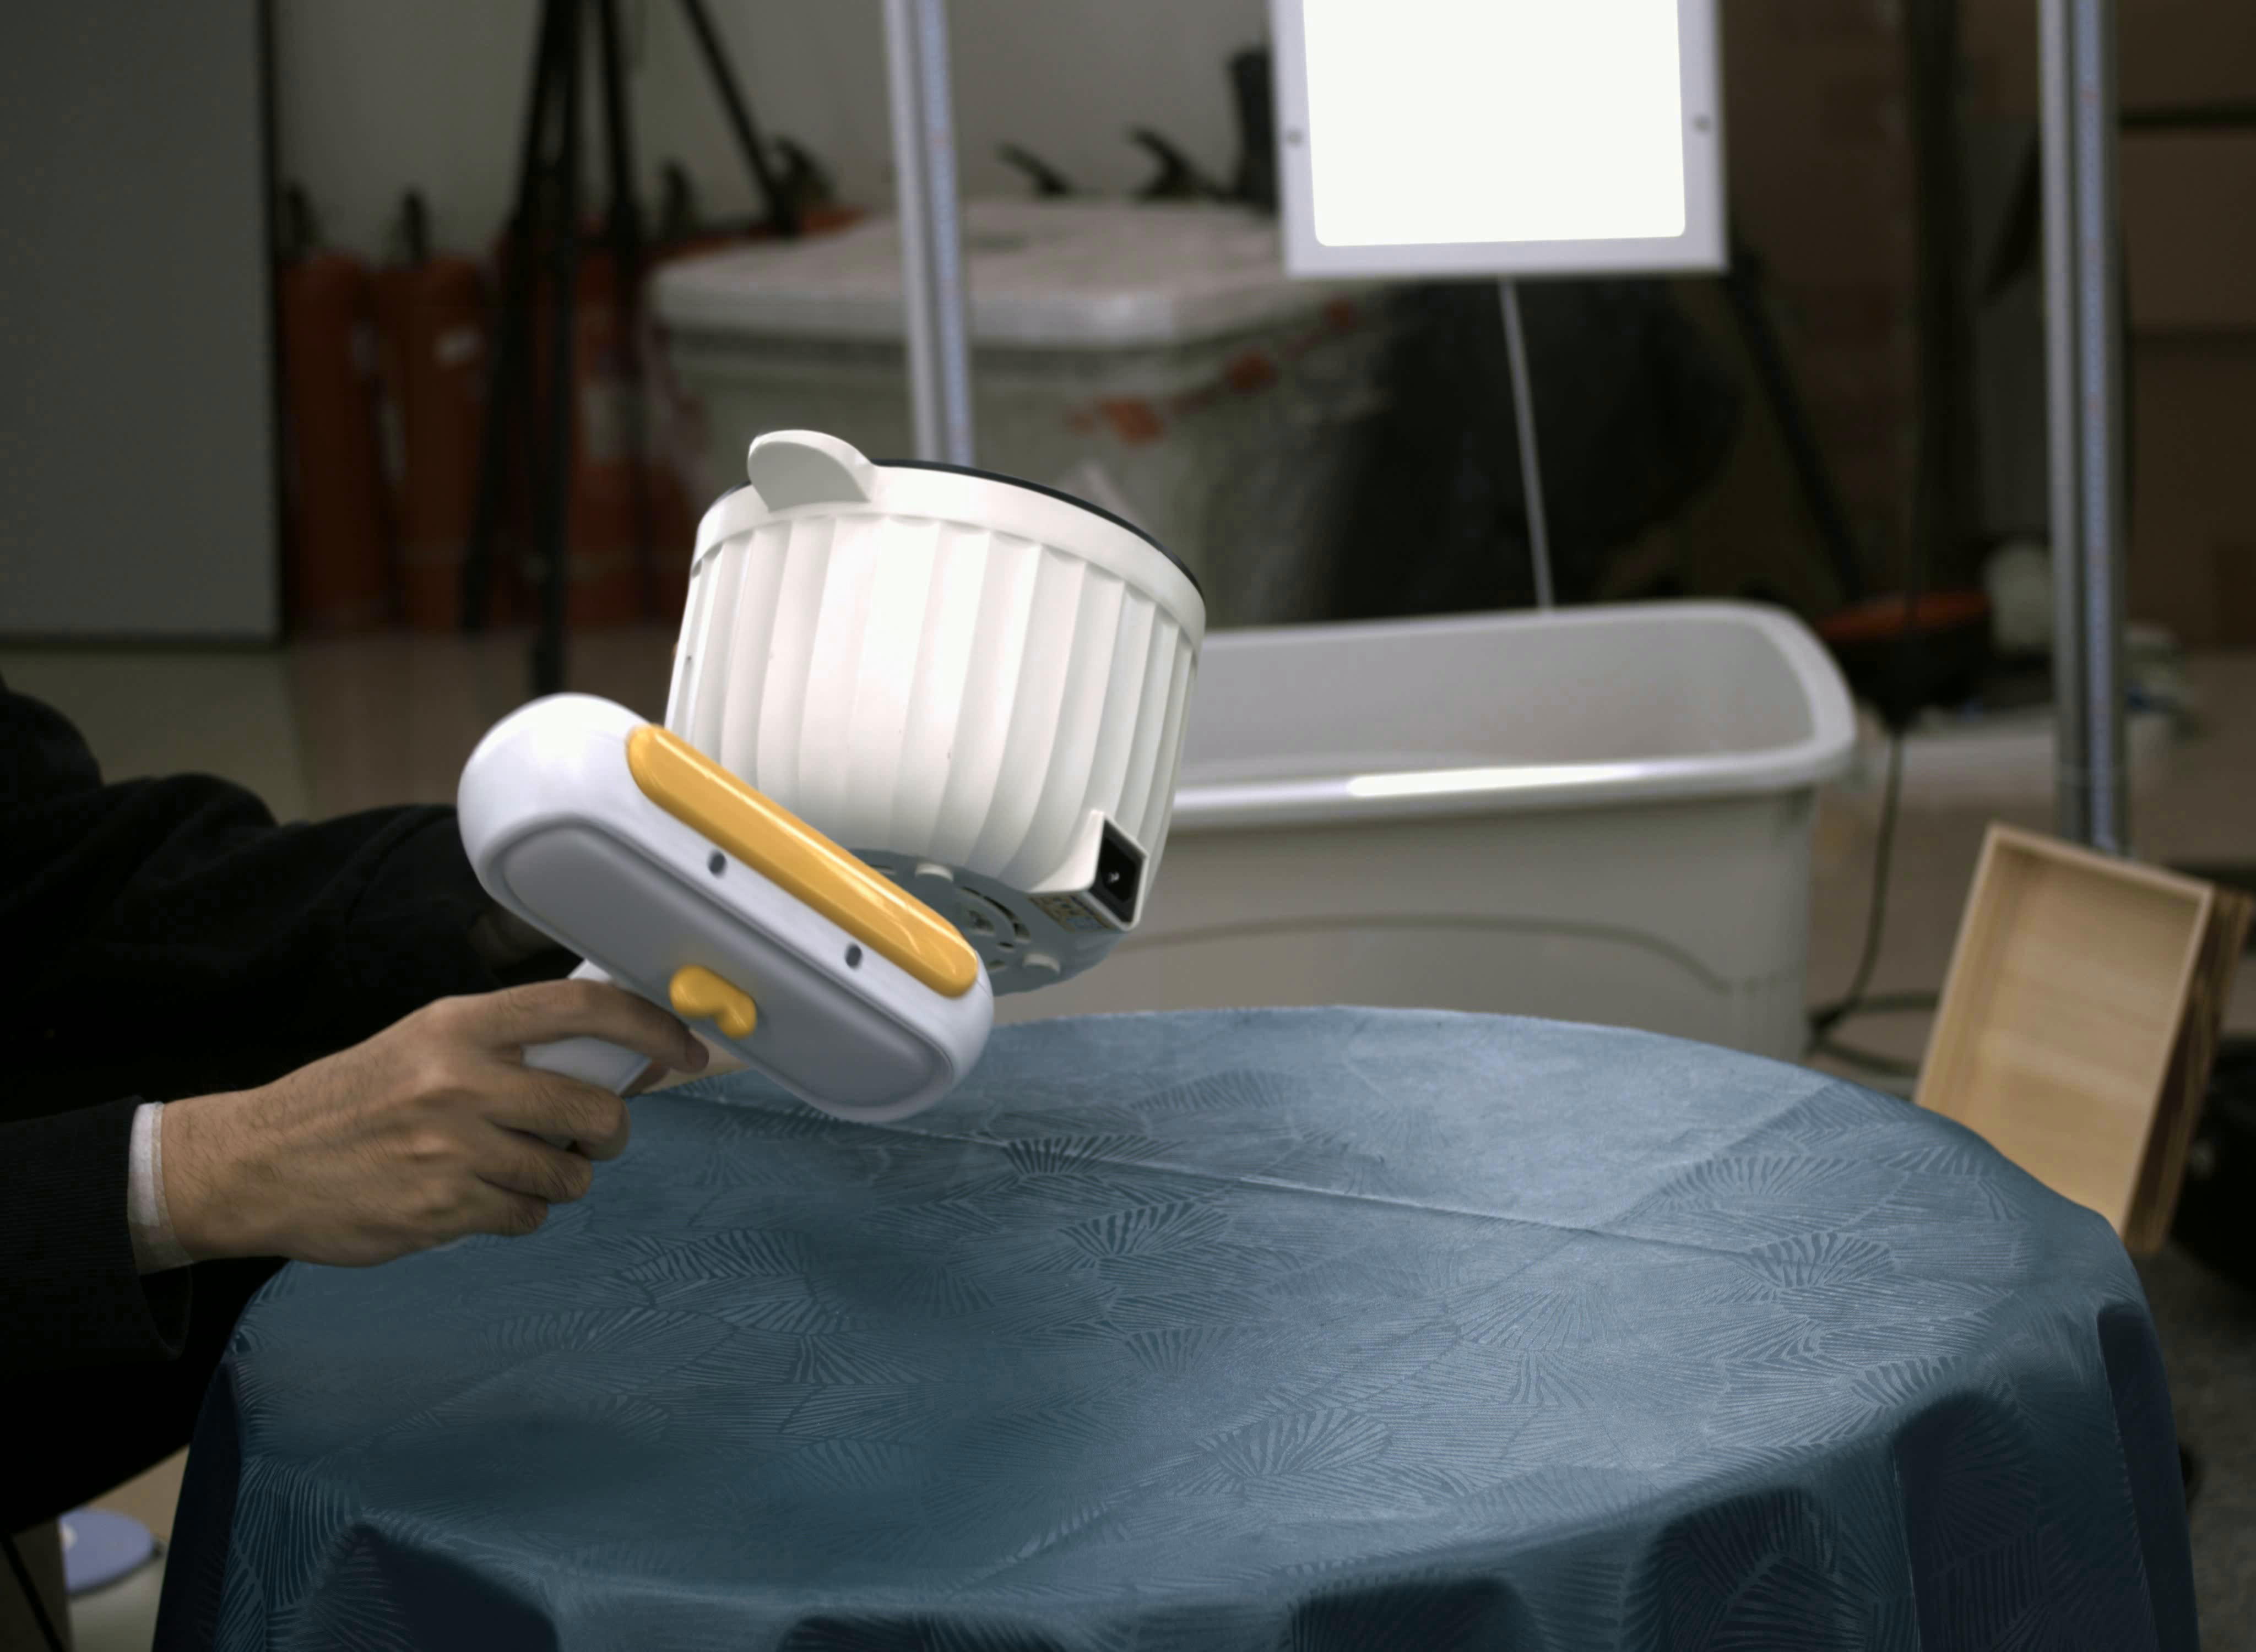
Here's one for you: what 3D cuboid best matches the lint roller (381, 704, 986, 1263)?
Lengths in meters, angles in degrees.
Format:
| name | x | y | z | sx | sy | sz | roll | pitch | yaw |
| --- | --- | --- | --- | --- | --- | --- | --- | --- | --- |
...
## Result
| name | x | y | z | sx | sy | sz | roll | pitch | yaw |
| --- | --- | --- | --- | --- | --- | --- | --- | --- | --- |
| lint roller | -0.164 | 0.064 | 1.711 | 0.189 | 0.196 | 0.074 | 28 | 38 | -33 |

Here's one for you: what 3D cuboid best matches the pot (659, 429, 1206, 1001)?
| name | x | y | z | sx | sy | sz | roll | pitch | yaw |
| --- | --- | --- | --- | --- | --- | --- | --- | --- | --- |
| pot | -0.077 | -0.026 | 1.902 | 0.194 | 0.142 | 0.237 | -1 | -26 | 30 |
